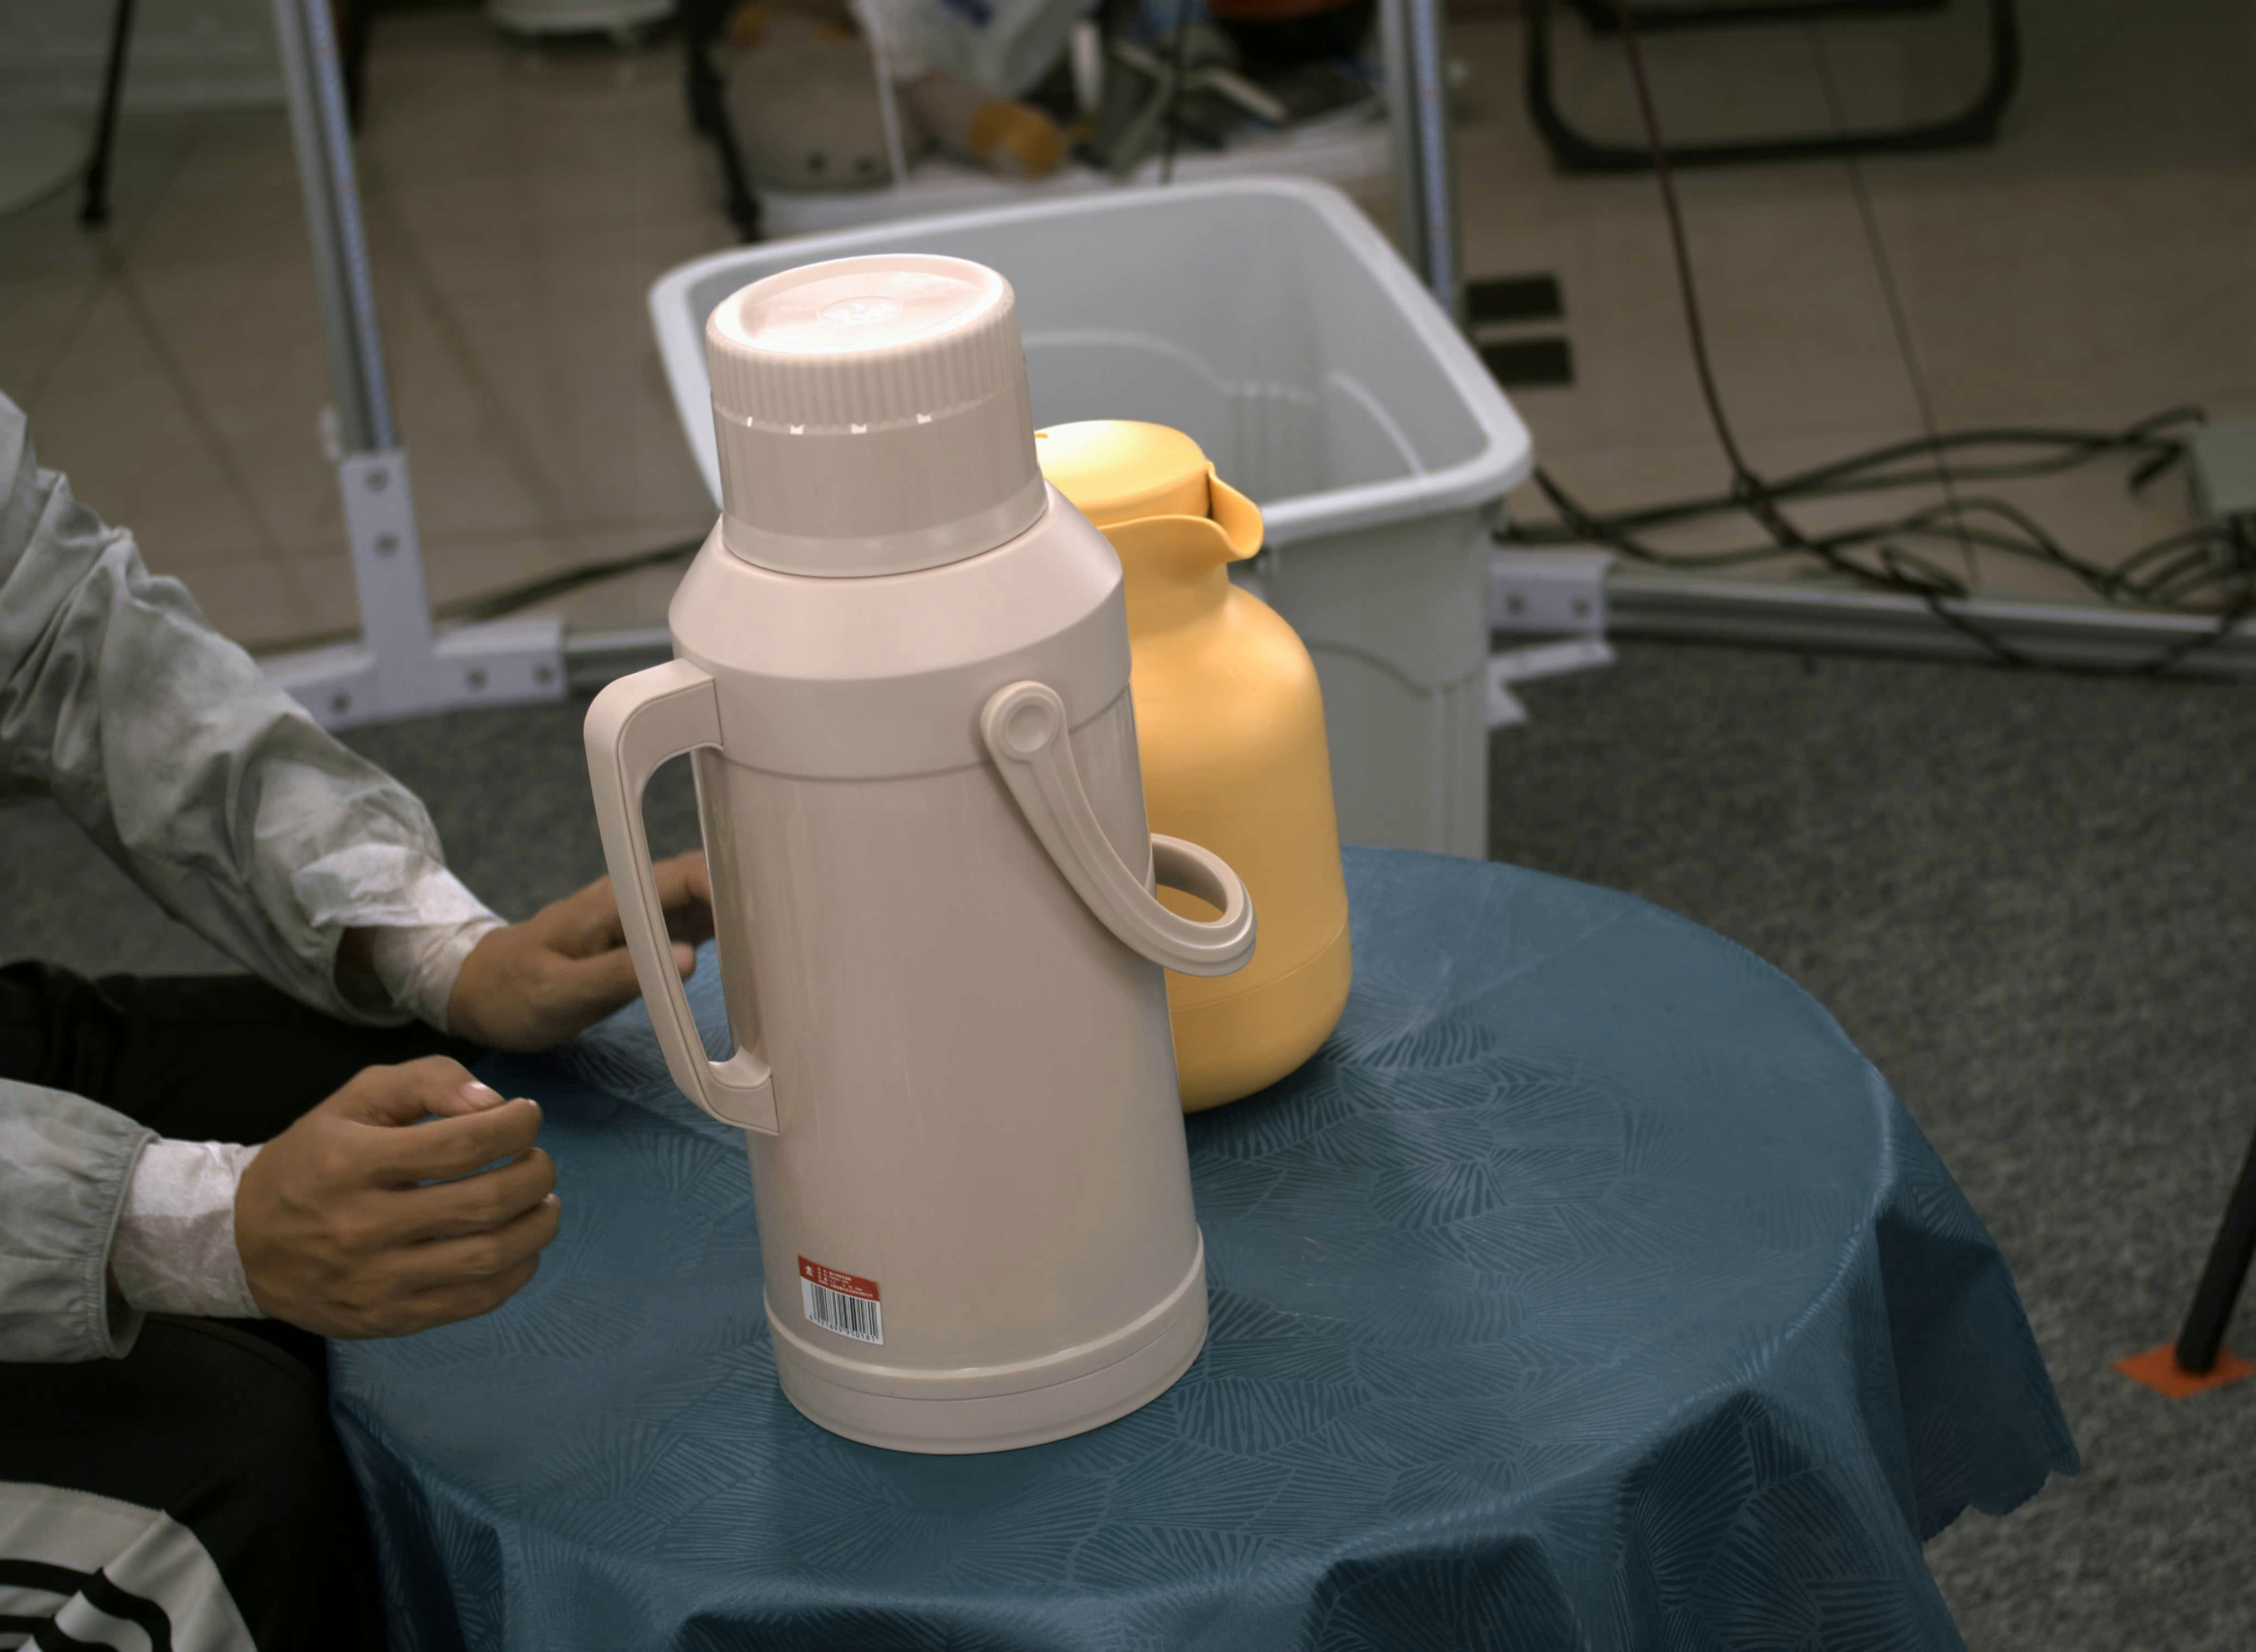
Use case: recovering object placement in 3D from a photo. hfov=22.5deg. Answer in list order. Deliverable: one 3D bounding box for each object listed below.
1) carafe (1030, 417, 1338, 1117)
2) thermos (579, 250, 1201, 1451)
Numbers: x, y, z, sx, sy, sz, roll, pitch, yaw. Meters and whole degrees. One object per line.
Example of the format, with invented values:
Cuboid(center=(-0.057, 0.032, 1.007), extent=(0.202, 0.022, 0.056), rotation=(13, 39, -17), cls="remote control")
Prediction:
Cuboid(center=(-0.019, -0.031, 2.206), extent=(0.201, 0.264, 0.162), rotation=(15, 30, 35), cls="carafe")
Cuboid(center=(-0.084, 0.011, 1.968), extent=(0.206, 0.413, 0.173), rotation=(-19, 29, -25), cls="thermos")
